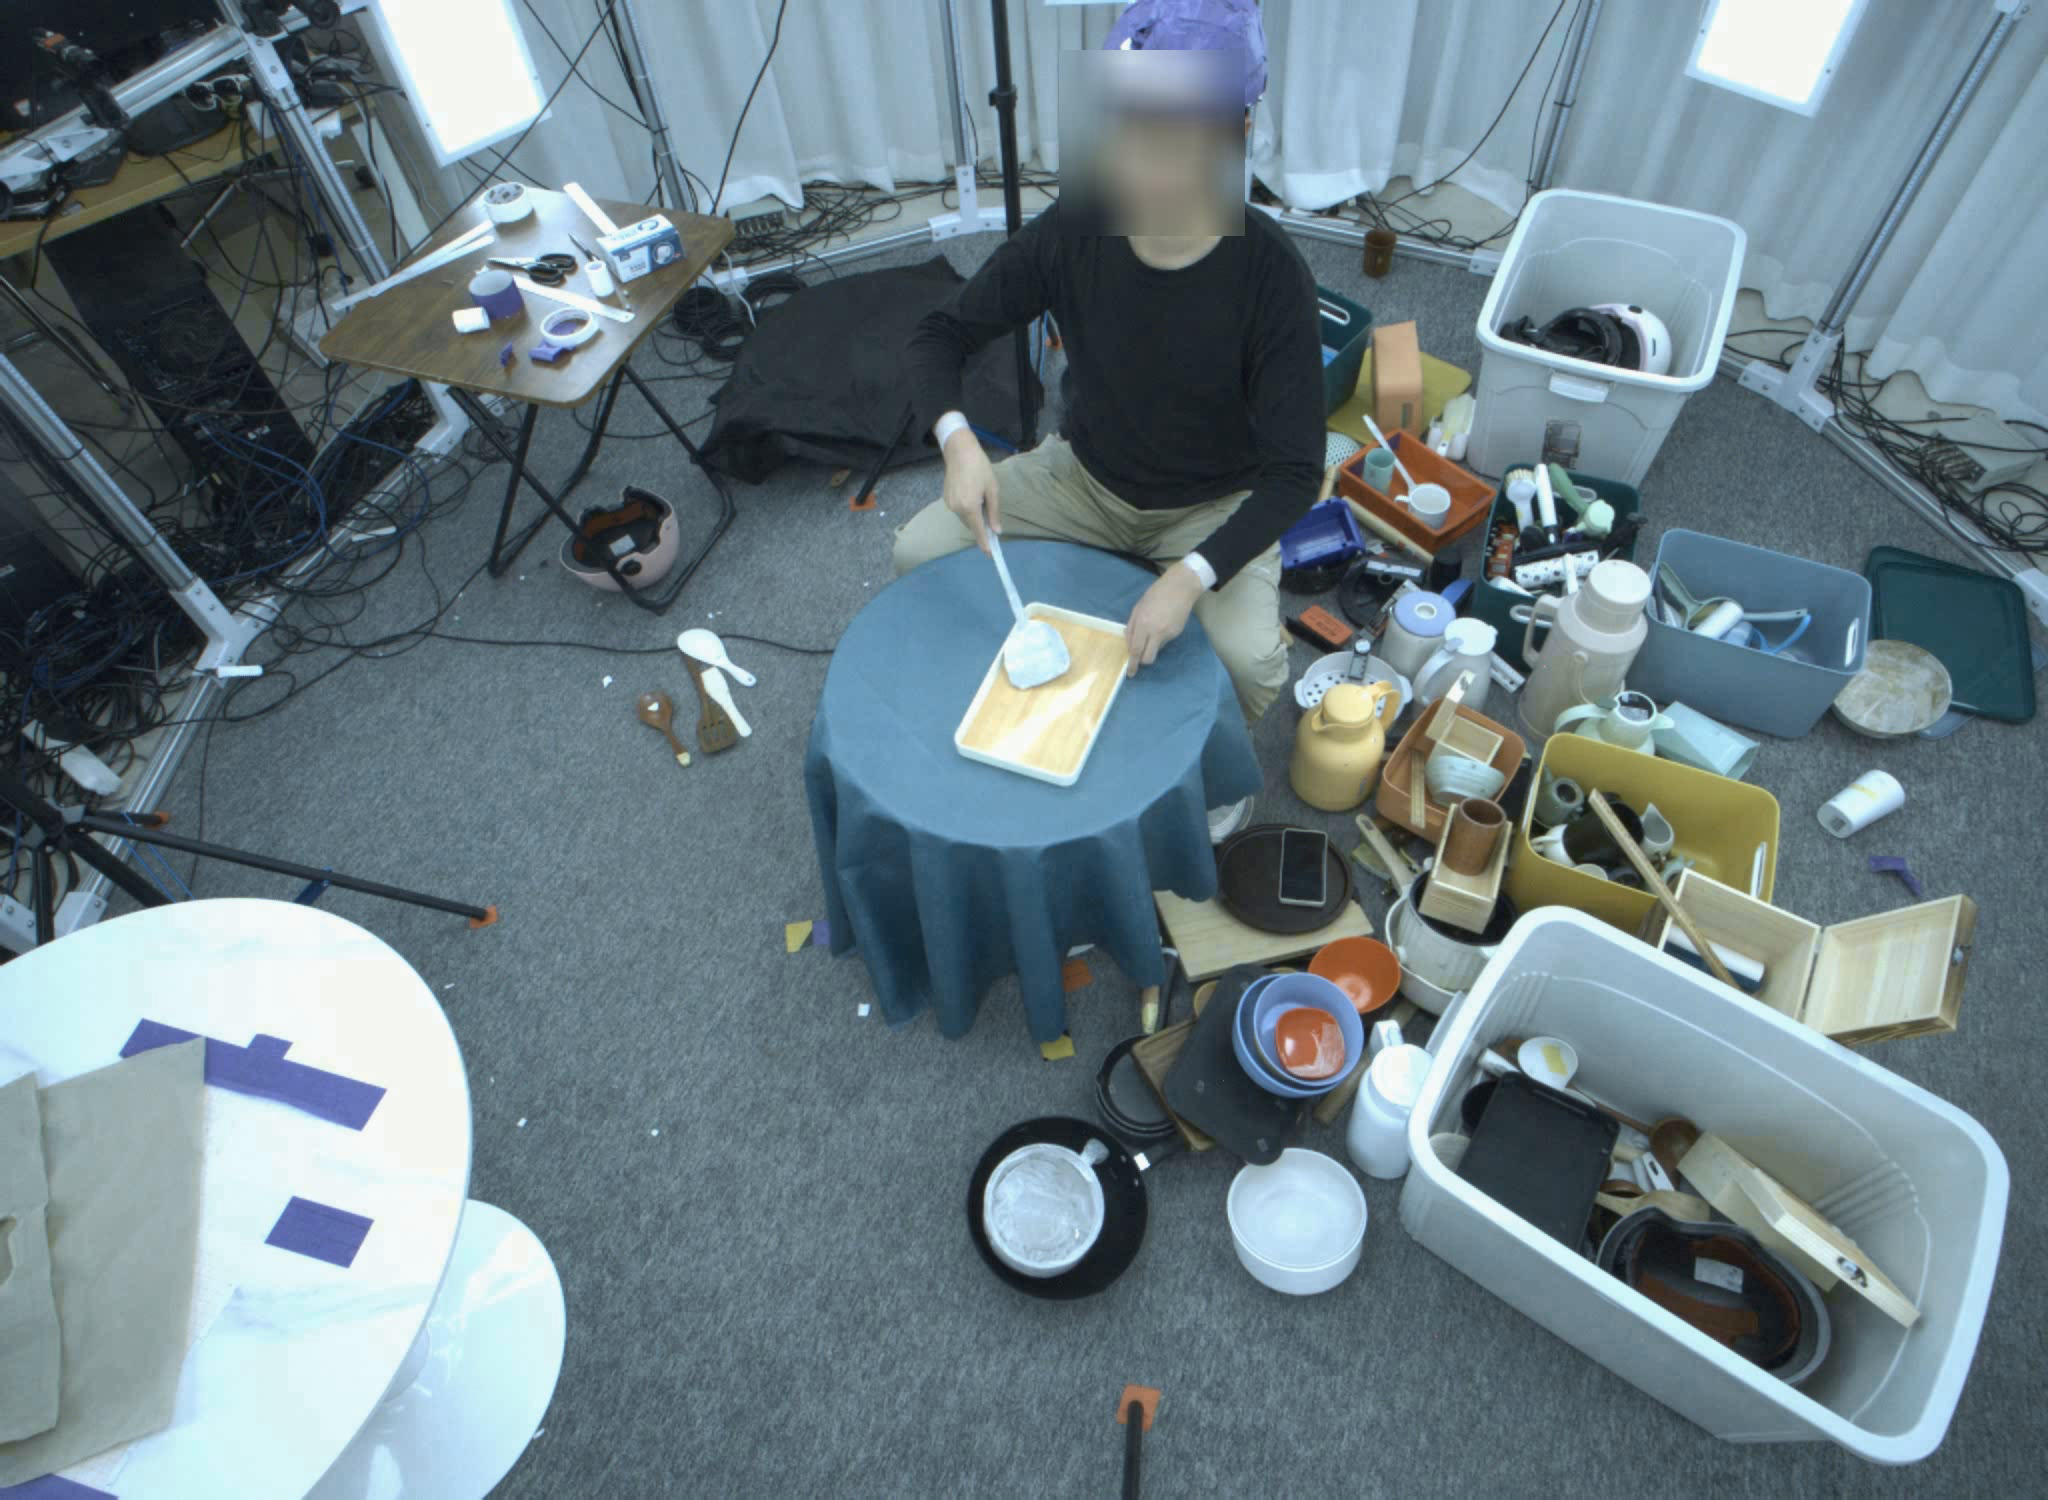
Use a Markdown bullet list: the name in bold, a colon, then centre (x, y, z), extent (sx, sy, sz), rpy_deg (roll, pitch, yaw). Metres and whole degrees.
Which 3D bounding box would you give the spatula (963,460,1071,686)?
- **spatula**: centre (-0.031, -0.273, 1.852), extent (0.098, 0.045, 0.365), rpy_deg (-21, 91, 4)

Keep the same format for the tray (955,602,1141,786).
- **tray**: centre (0.039, -0.089, 1.833), extent (0.189, 0.028, 0.300), rpy_deg (18, 57, 14)
